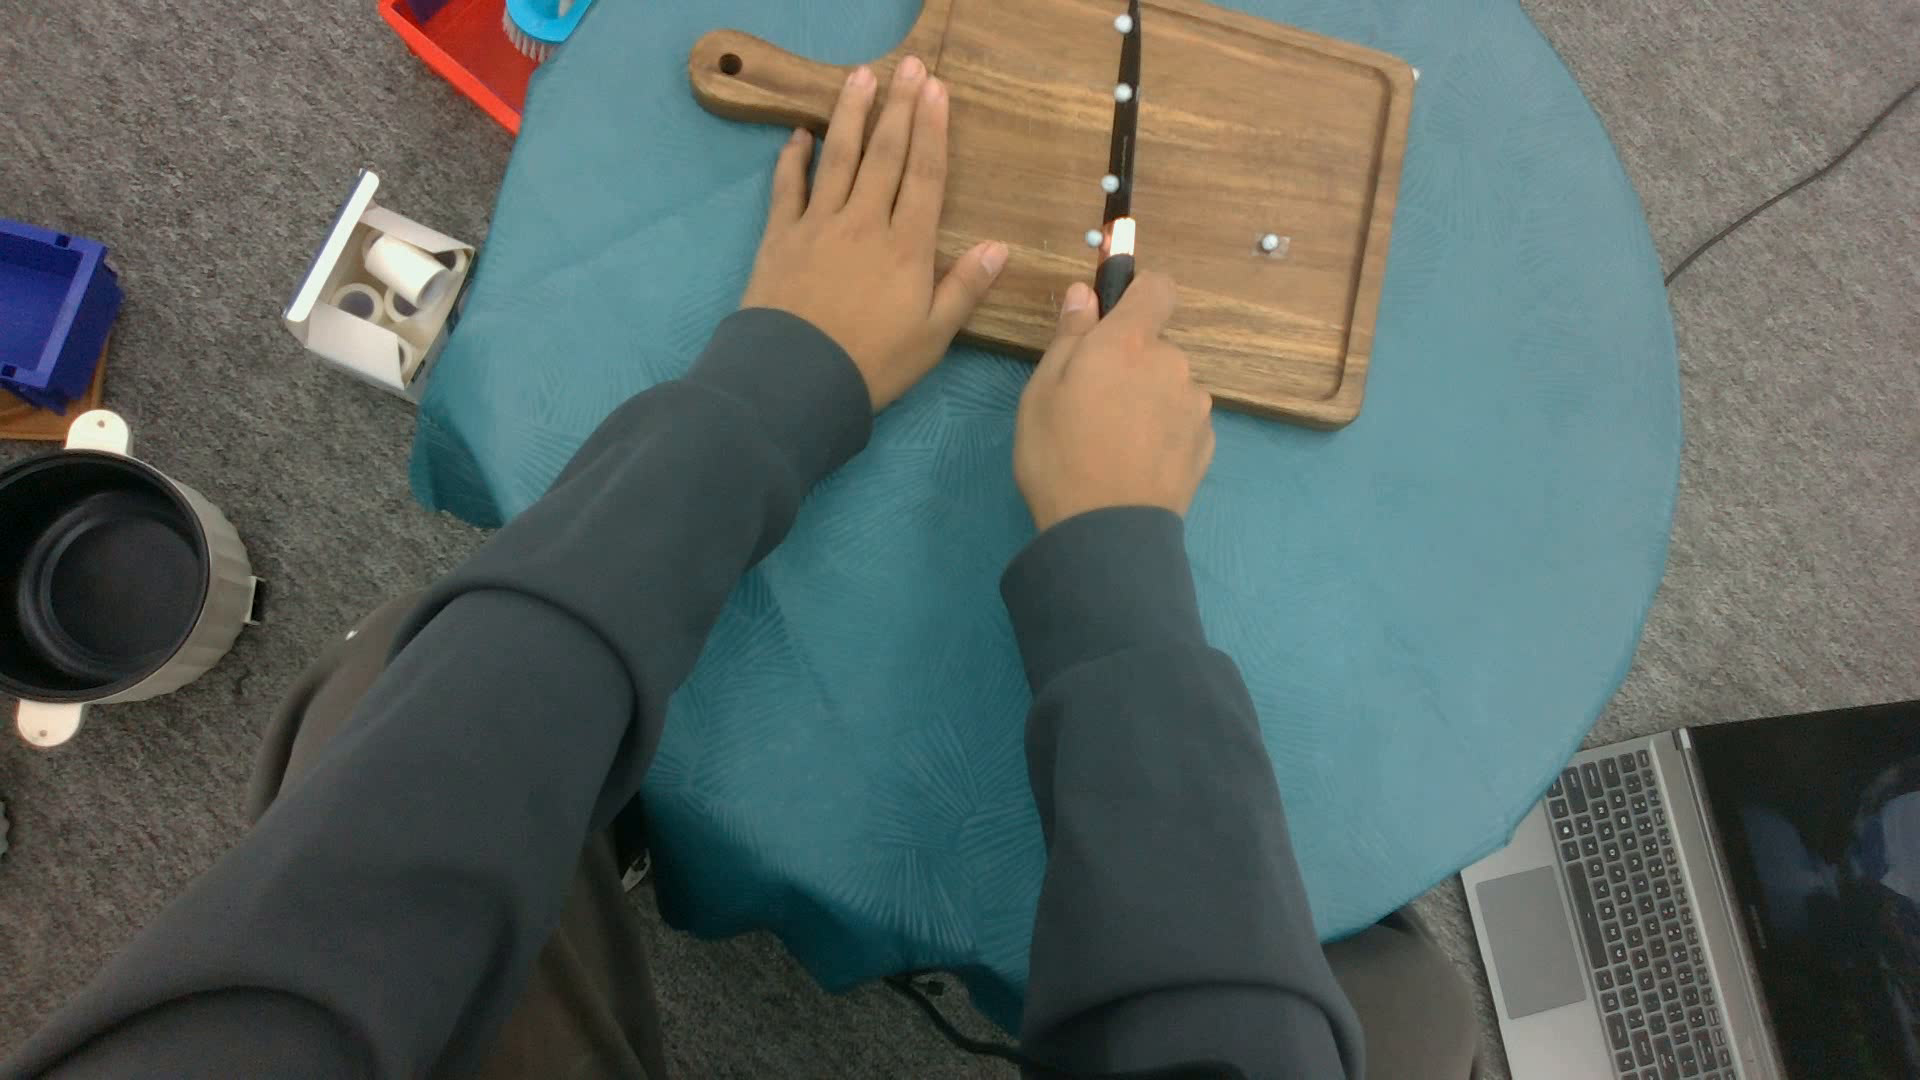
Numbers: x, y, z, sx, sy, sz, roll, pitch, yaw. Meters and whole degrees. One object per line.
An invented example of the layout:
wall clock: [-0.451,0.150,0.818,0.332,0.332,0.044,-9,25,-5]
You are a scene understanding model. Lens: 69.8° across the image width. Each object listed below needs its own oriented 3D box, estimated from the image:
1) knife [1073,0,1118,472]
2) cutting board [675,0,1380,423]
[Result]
knife: [0.062,-0.143,0.634,0.017,0.026,0.225,2,85,-24]
cutting board: [0.035,-0.181,0.688,0.352,0.023,0.201,10,79,-5]
